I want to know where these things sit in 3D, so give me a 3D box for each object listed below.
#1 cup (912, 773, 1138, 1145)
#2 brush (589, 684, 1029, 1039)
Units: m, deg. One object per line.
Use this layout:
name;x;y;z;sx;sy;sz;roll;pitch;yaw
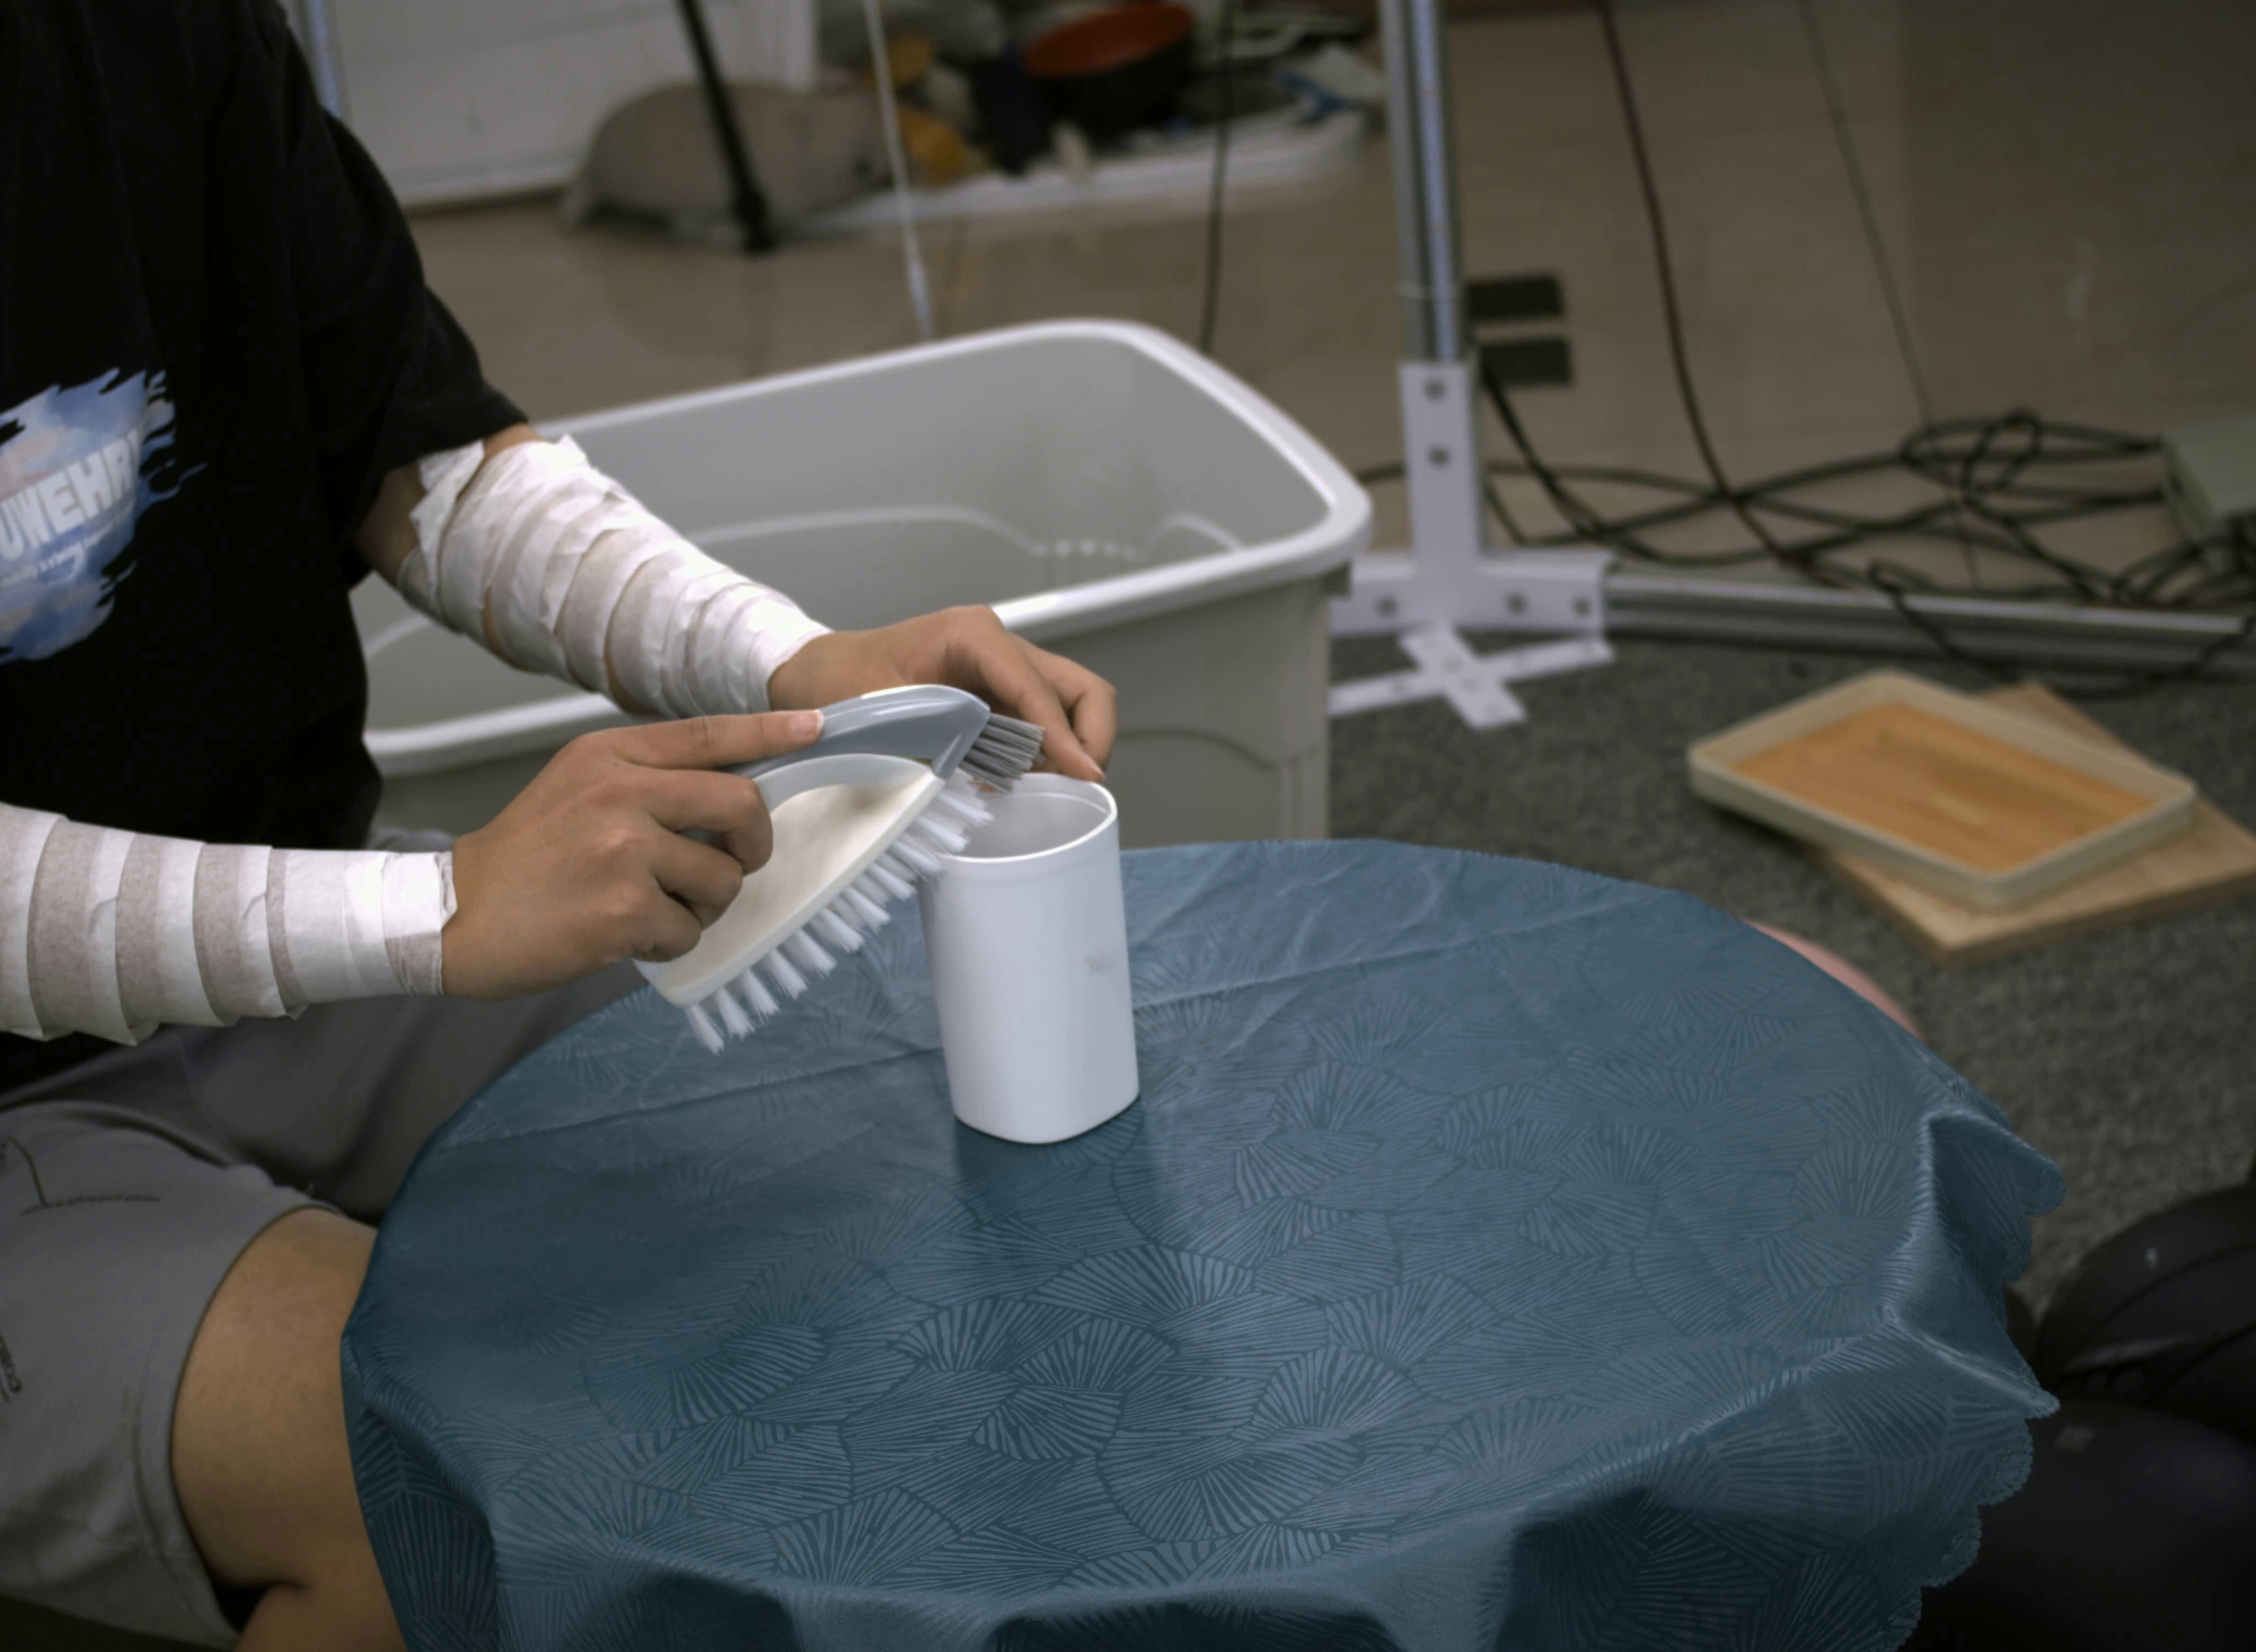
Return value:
cup;-0.039;0.052;2.195;0.081;0.127;0.080;-5;26;3
brush;-0.126;-0.003;2.135;0.176;0.095;0.060;-36;47;8
